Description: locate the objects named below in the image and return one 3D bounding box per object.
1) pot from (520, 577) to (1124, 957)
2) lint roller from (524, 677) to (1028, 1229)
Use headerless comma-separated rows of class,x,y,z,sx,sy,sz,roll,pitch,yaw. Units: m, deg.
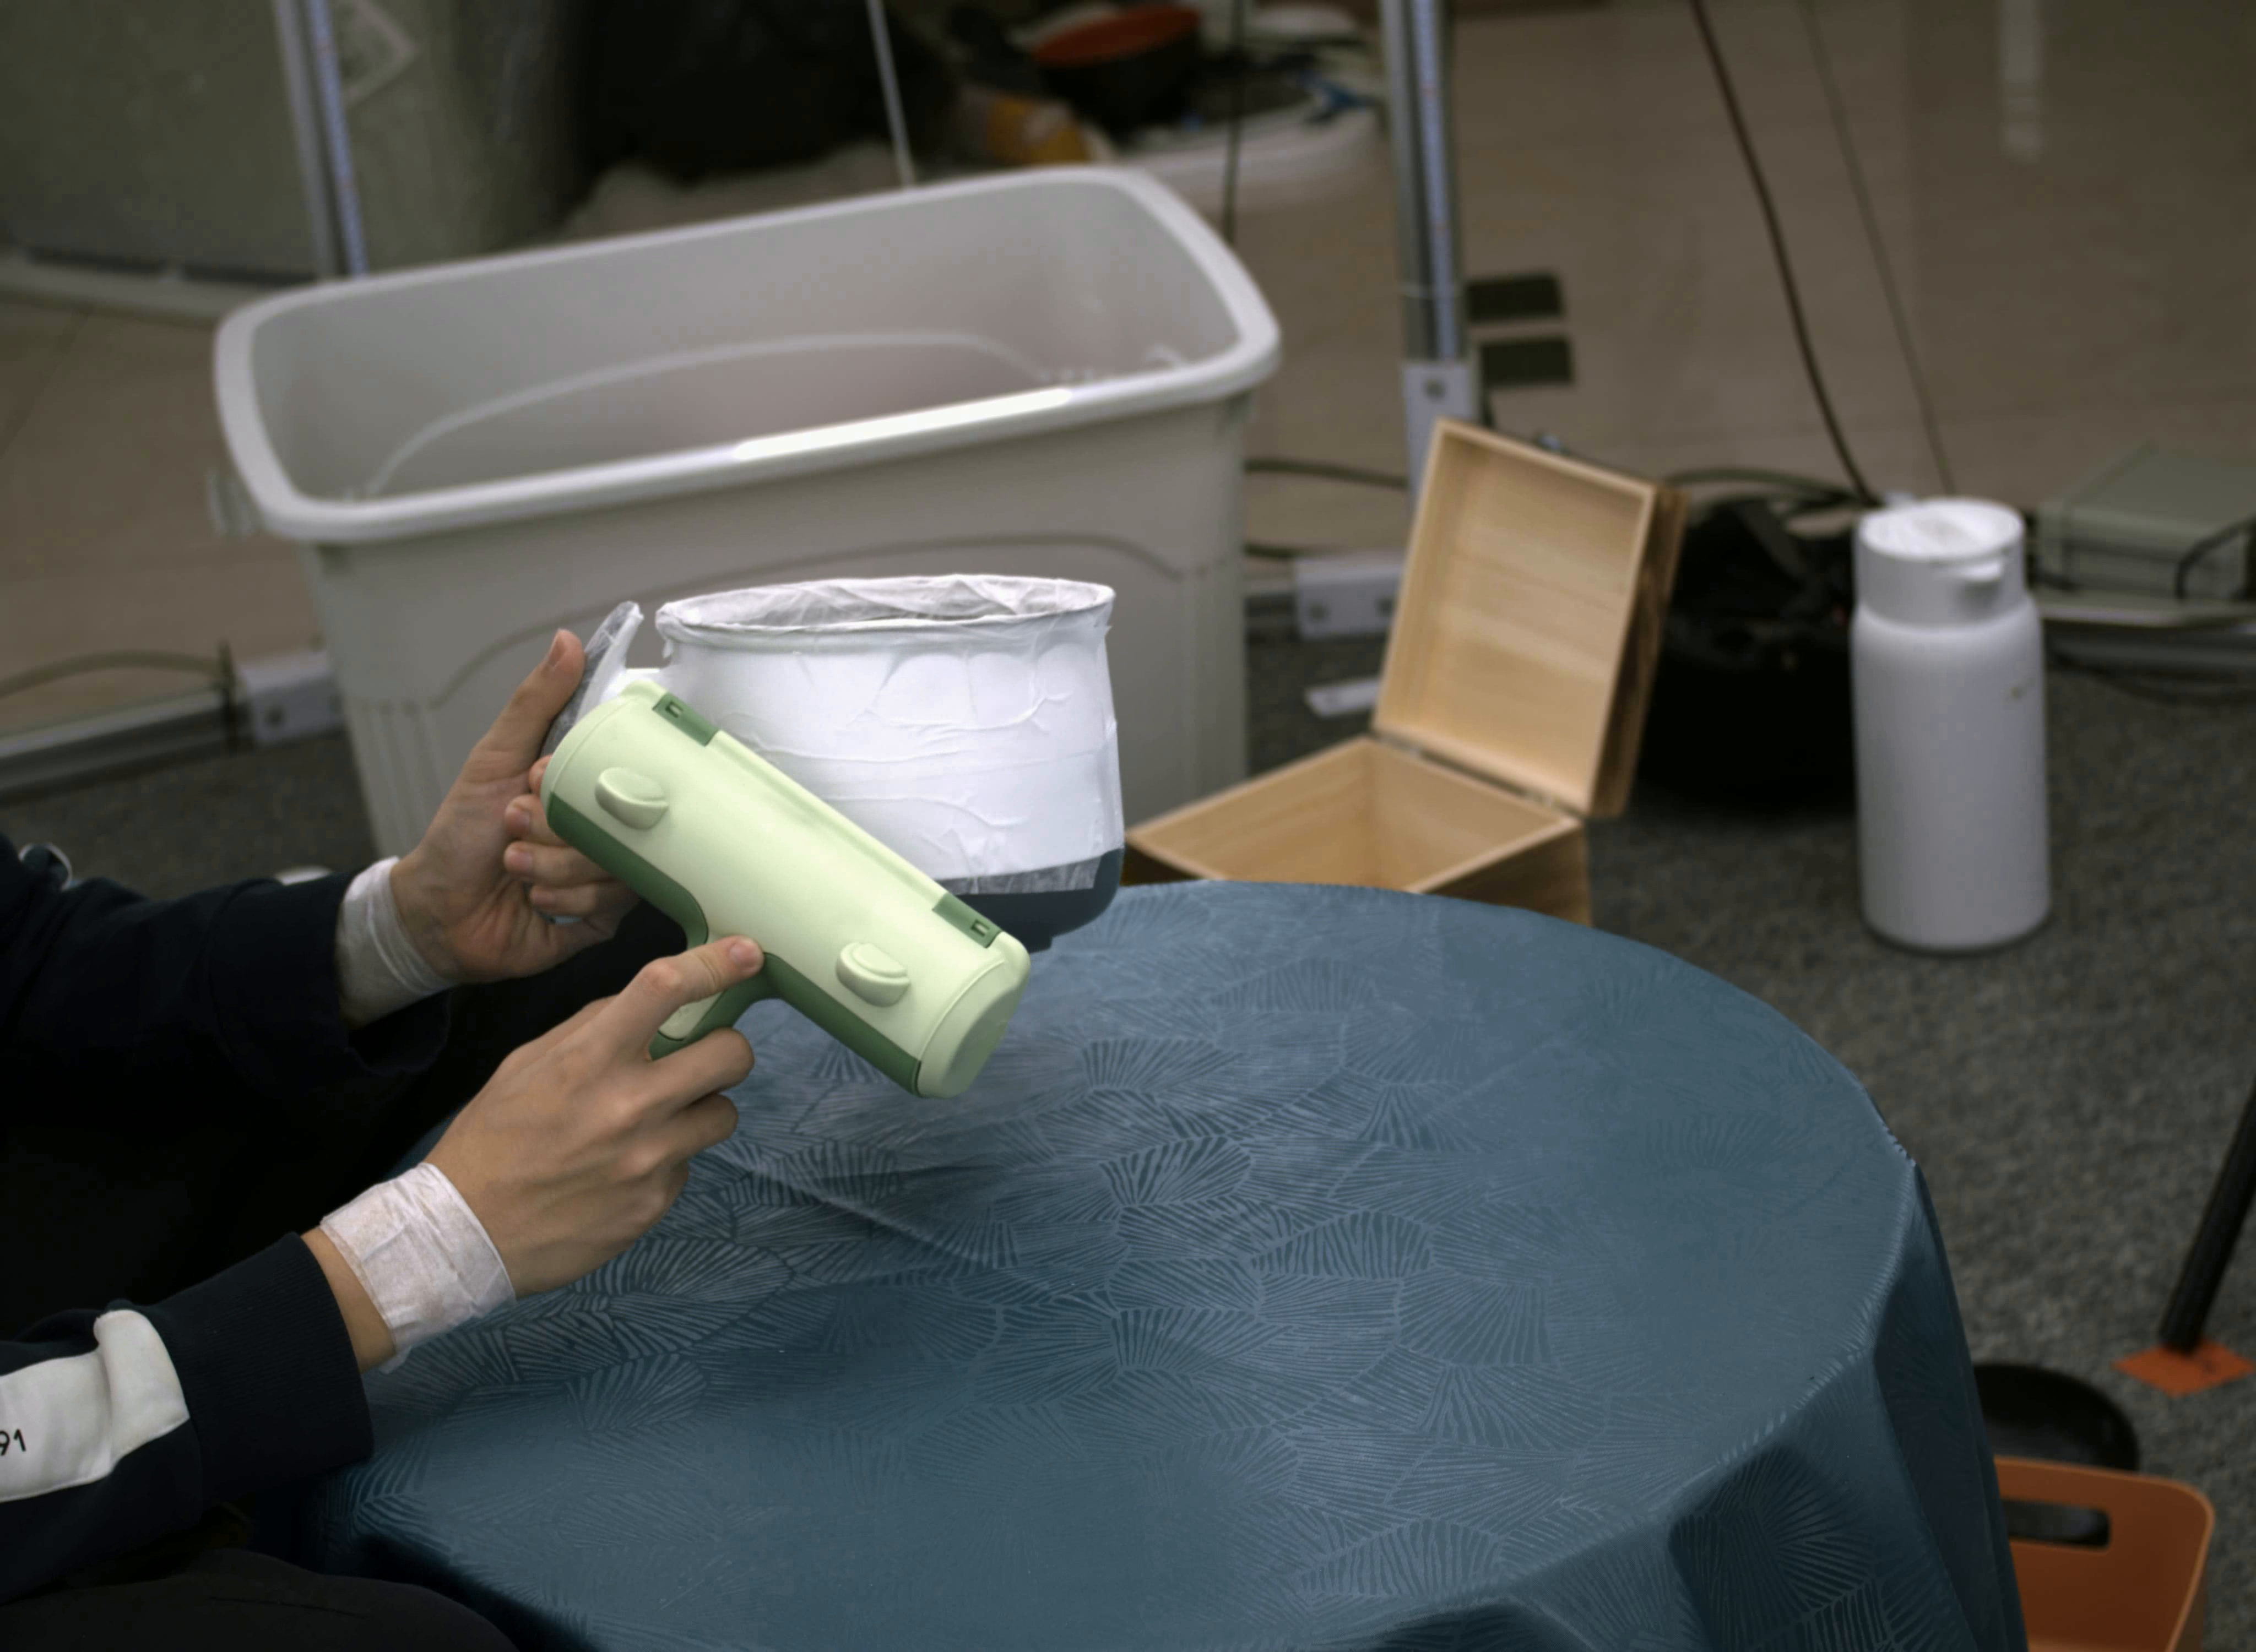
pot,-0.118,-0.023,2.173,0.233,0.137,0.177,-2,9,-4
lint roller,-0.164,0.065,2.058,0.197,0.083,0.182,36,80,15
